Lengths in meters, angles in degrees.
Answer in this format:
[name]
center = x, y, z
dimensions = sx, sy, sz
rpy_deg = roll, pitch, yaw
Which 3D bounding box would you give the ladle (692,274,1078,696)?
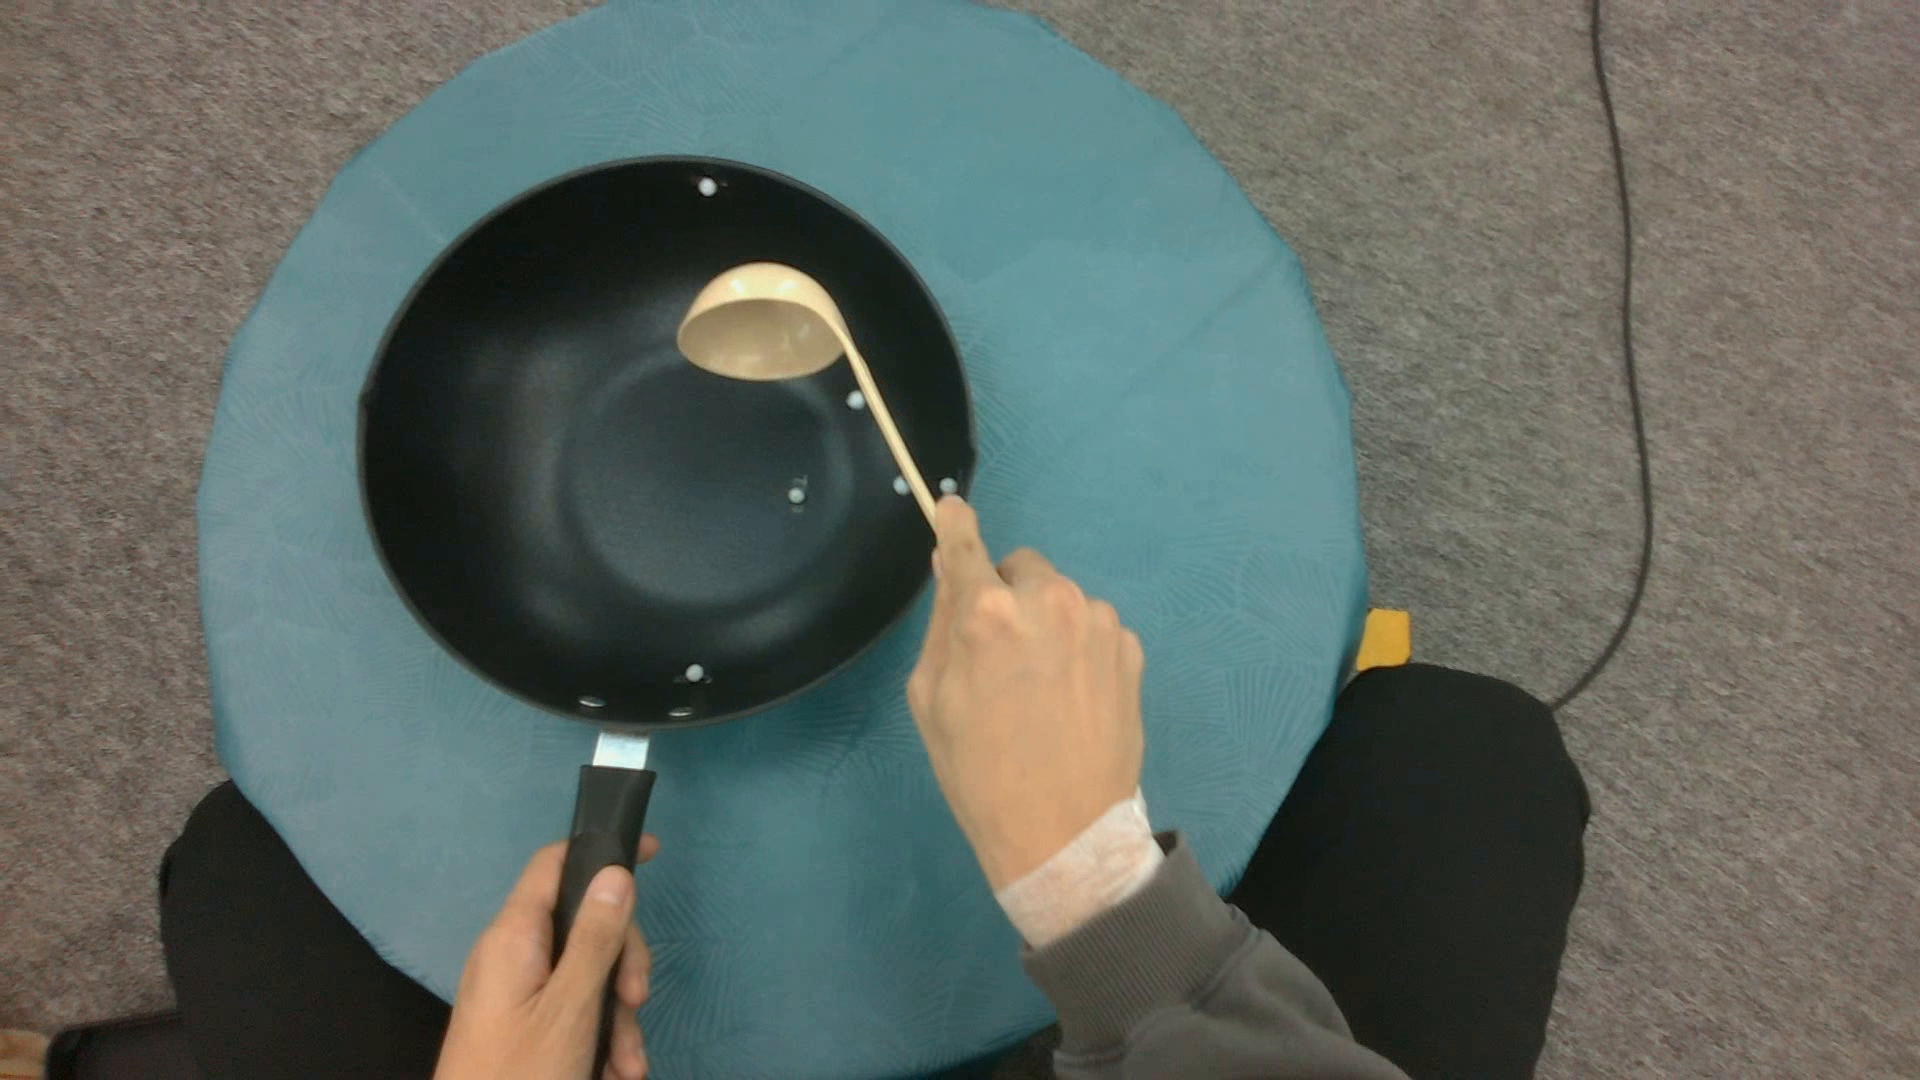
[ladle]
center = -0.042, -0.017, 0.592
dimensions = 0.073, 0.072, 0.255
rpy_deg = -29, 59, -4

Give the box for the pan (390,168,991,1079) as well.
[pan]
center = -0.139, 0.048, 0.666
dimensions = 0.288, 0.086, 0.464
rpy_deg = 6, 76, 1
